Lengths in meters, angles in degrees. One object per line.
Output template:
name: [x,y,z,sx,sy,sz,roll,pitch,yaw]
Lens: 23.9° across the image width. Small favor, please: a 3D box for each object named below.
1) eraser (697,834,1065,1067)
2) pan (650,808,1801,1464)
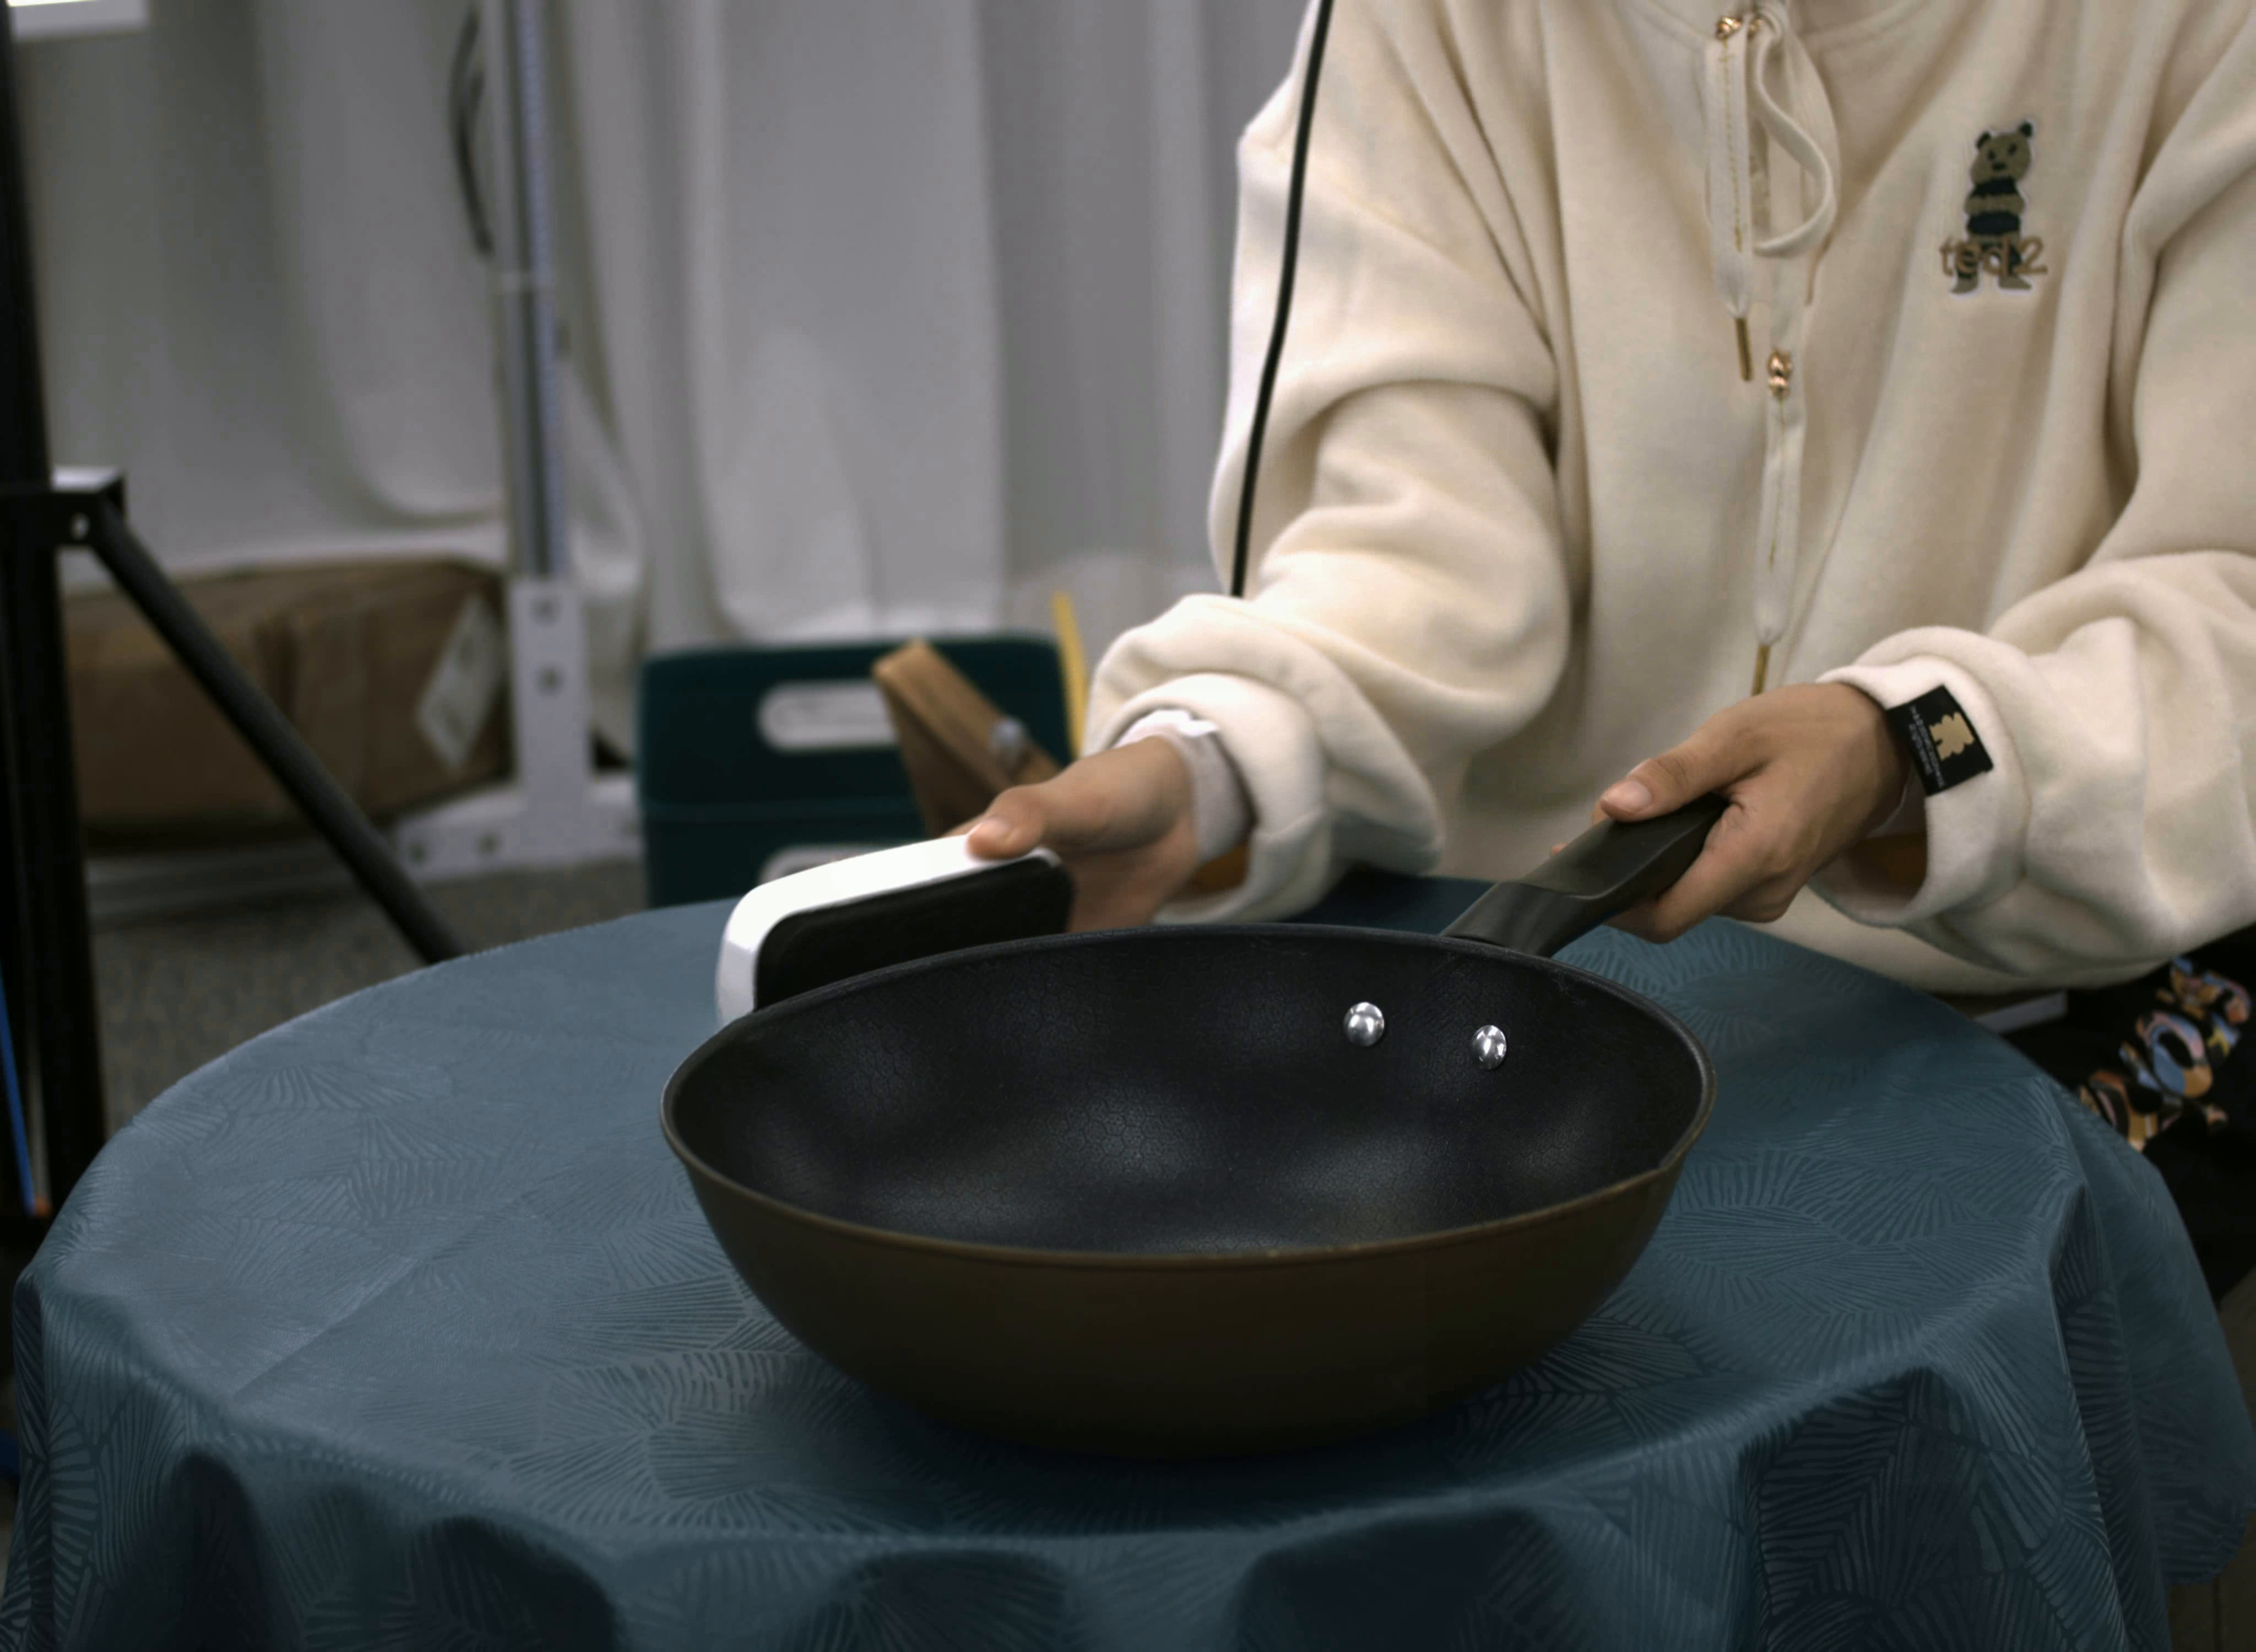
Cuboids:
eraser: [-0.075,0.041,1.614,0.035,0.063,0.128,34,32,33]
pan: [0.065,0.082,1.486,0.294,0.087,0.454,9,18,34]
